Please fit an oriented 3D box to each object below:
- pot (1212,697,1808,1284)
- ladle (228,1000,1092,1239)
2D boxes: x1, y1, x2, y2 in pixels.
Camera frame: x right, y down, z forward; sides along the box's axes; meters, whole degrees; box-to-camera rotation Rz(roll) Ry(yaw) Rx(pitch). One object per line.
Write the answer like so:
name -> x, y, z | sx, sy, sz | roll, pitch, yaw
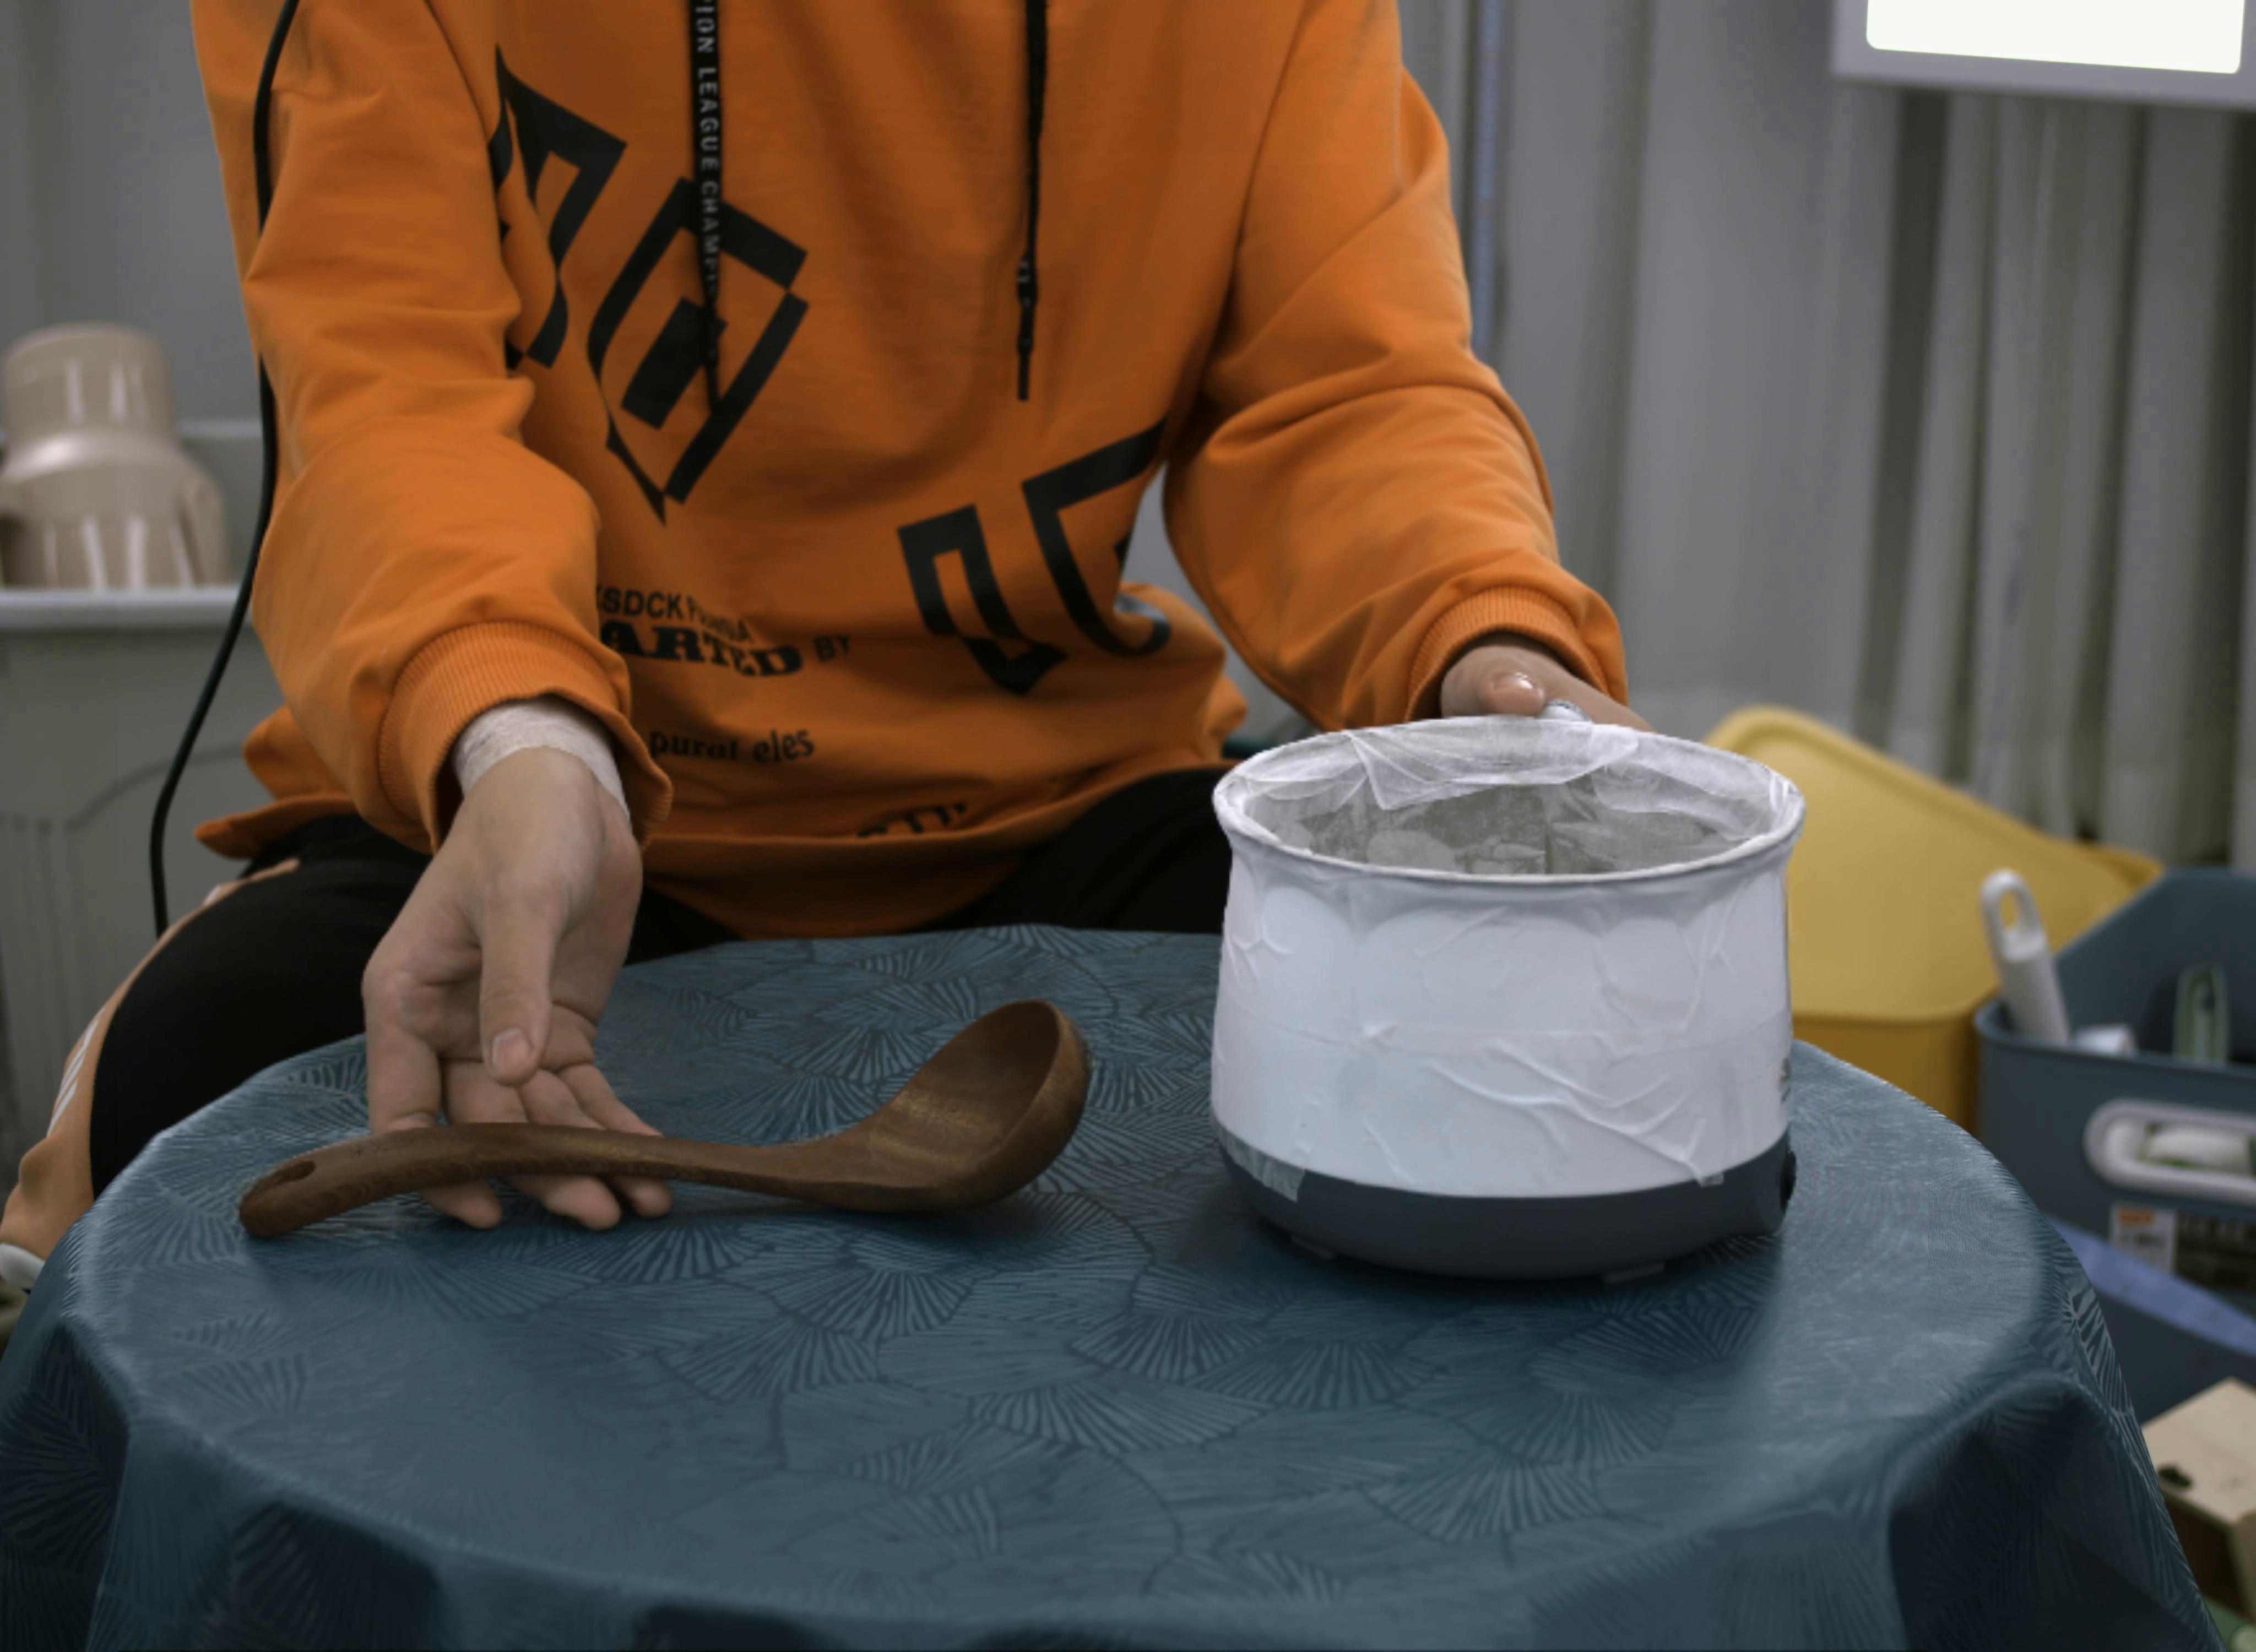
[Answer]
pot -> 0.119, 0.044, 1.614 | 0.177, 0.138, 0.233 | 4, 17, 10
ladle -> -0.140, 0.089, 1.584 | 0.260, 0.066, 0.076 | -1, 22, -7
